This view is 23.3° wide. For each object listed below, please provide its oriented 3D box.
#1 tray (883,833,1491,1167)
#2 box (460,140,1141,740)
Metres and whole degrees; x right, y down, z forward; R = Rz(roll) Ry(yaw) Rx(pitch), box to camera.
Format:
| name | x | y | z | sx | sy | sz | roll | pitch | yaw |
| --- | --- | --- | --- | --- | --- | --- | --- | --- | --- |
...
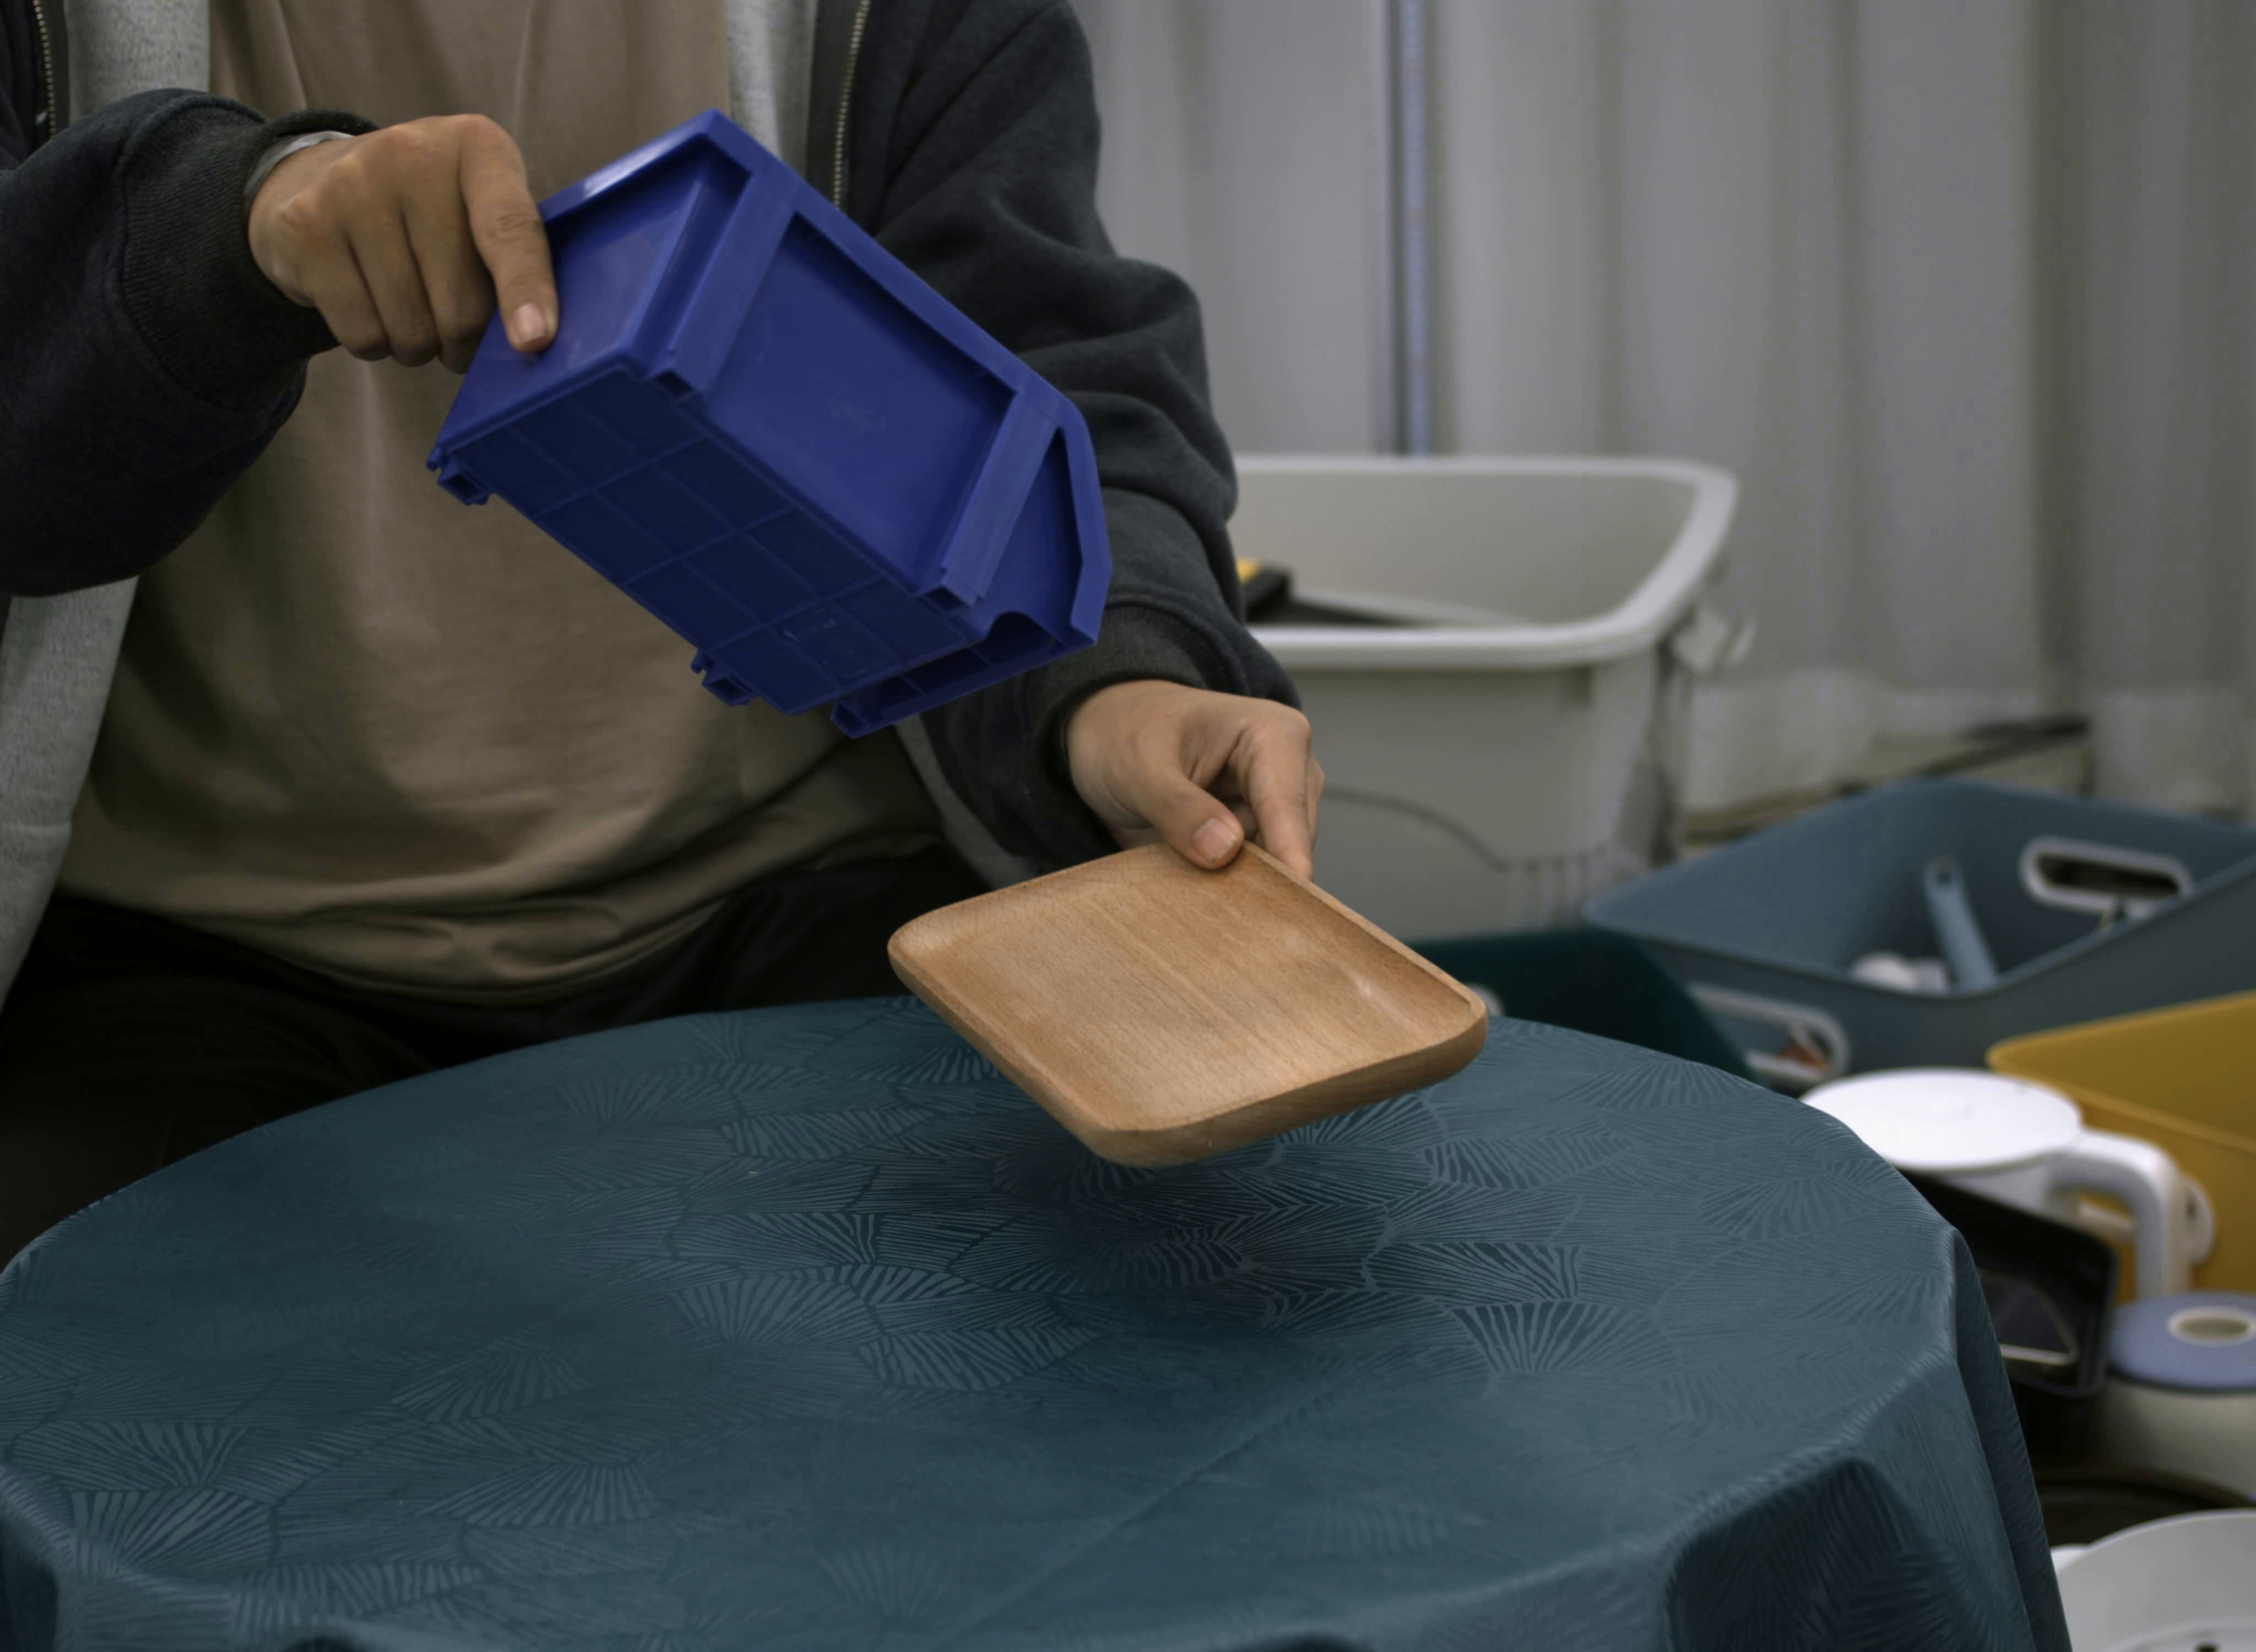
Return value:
| name | x | y | z | sx | sy | sz | roll | pitch | yaw |
| --- | --- | --- | --- | --- | --- | --- | --- | --- | --- |
| tray | 0.014 | 0.051 | 1.672 | 0.130 | 0.023 | 0.252 | -14 | 17 | -15 |
| box | -0.097 | -0.102 | 1.605 | 0.177 | 0.083 | 0.124 | 33 | -32 | -25 |
